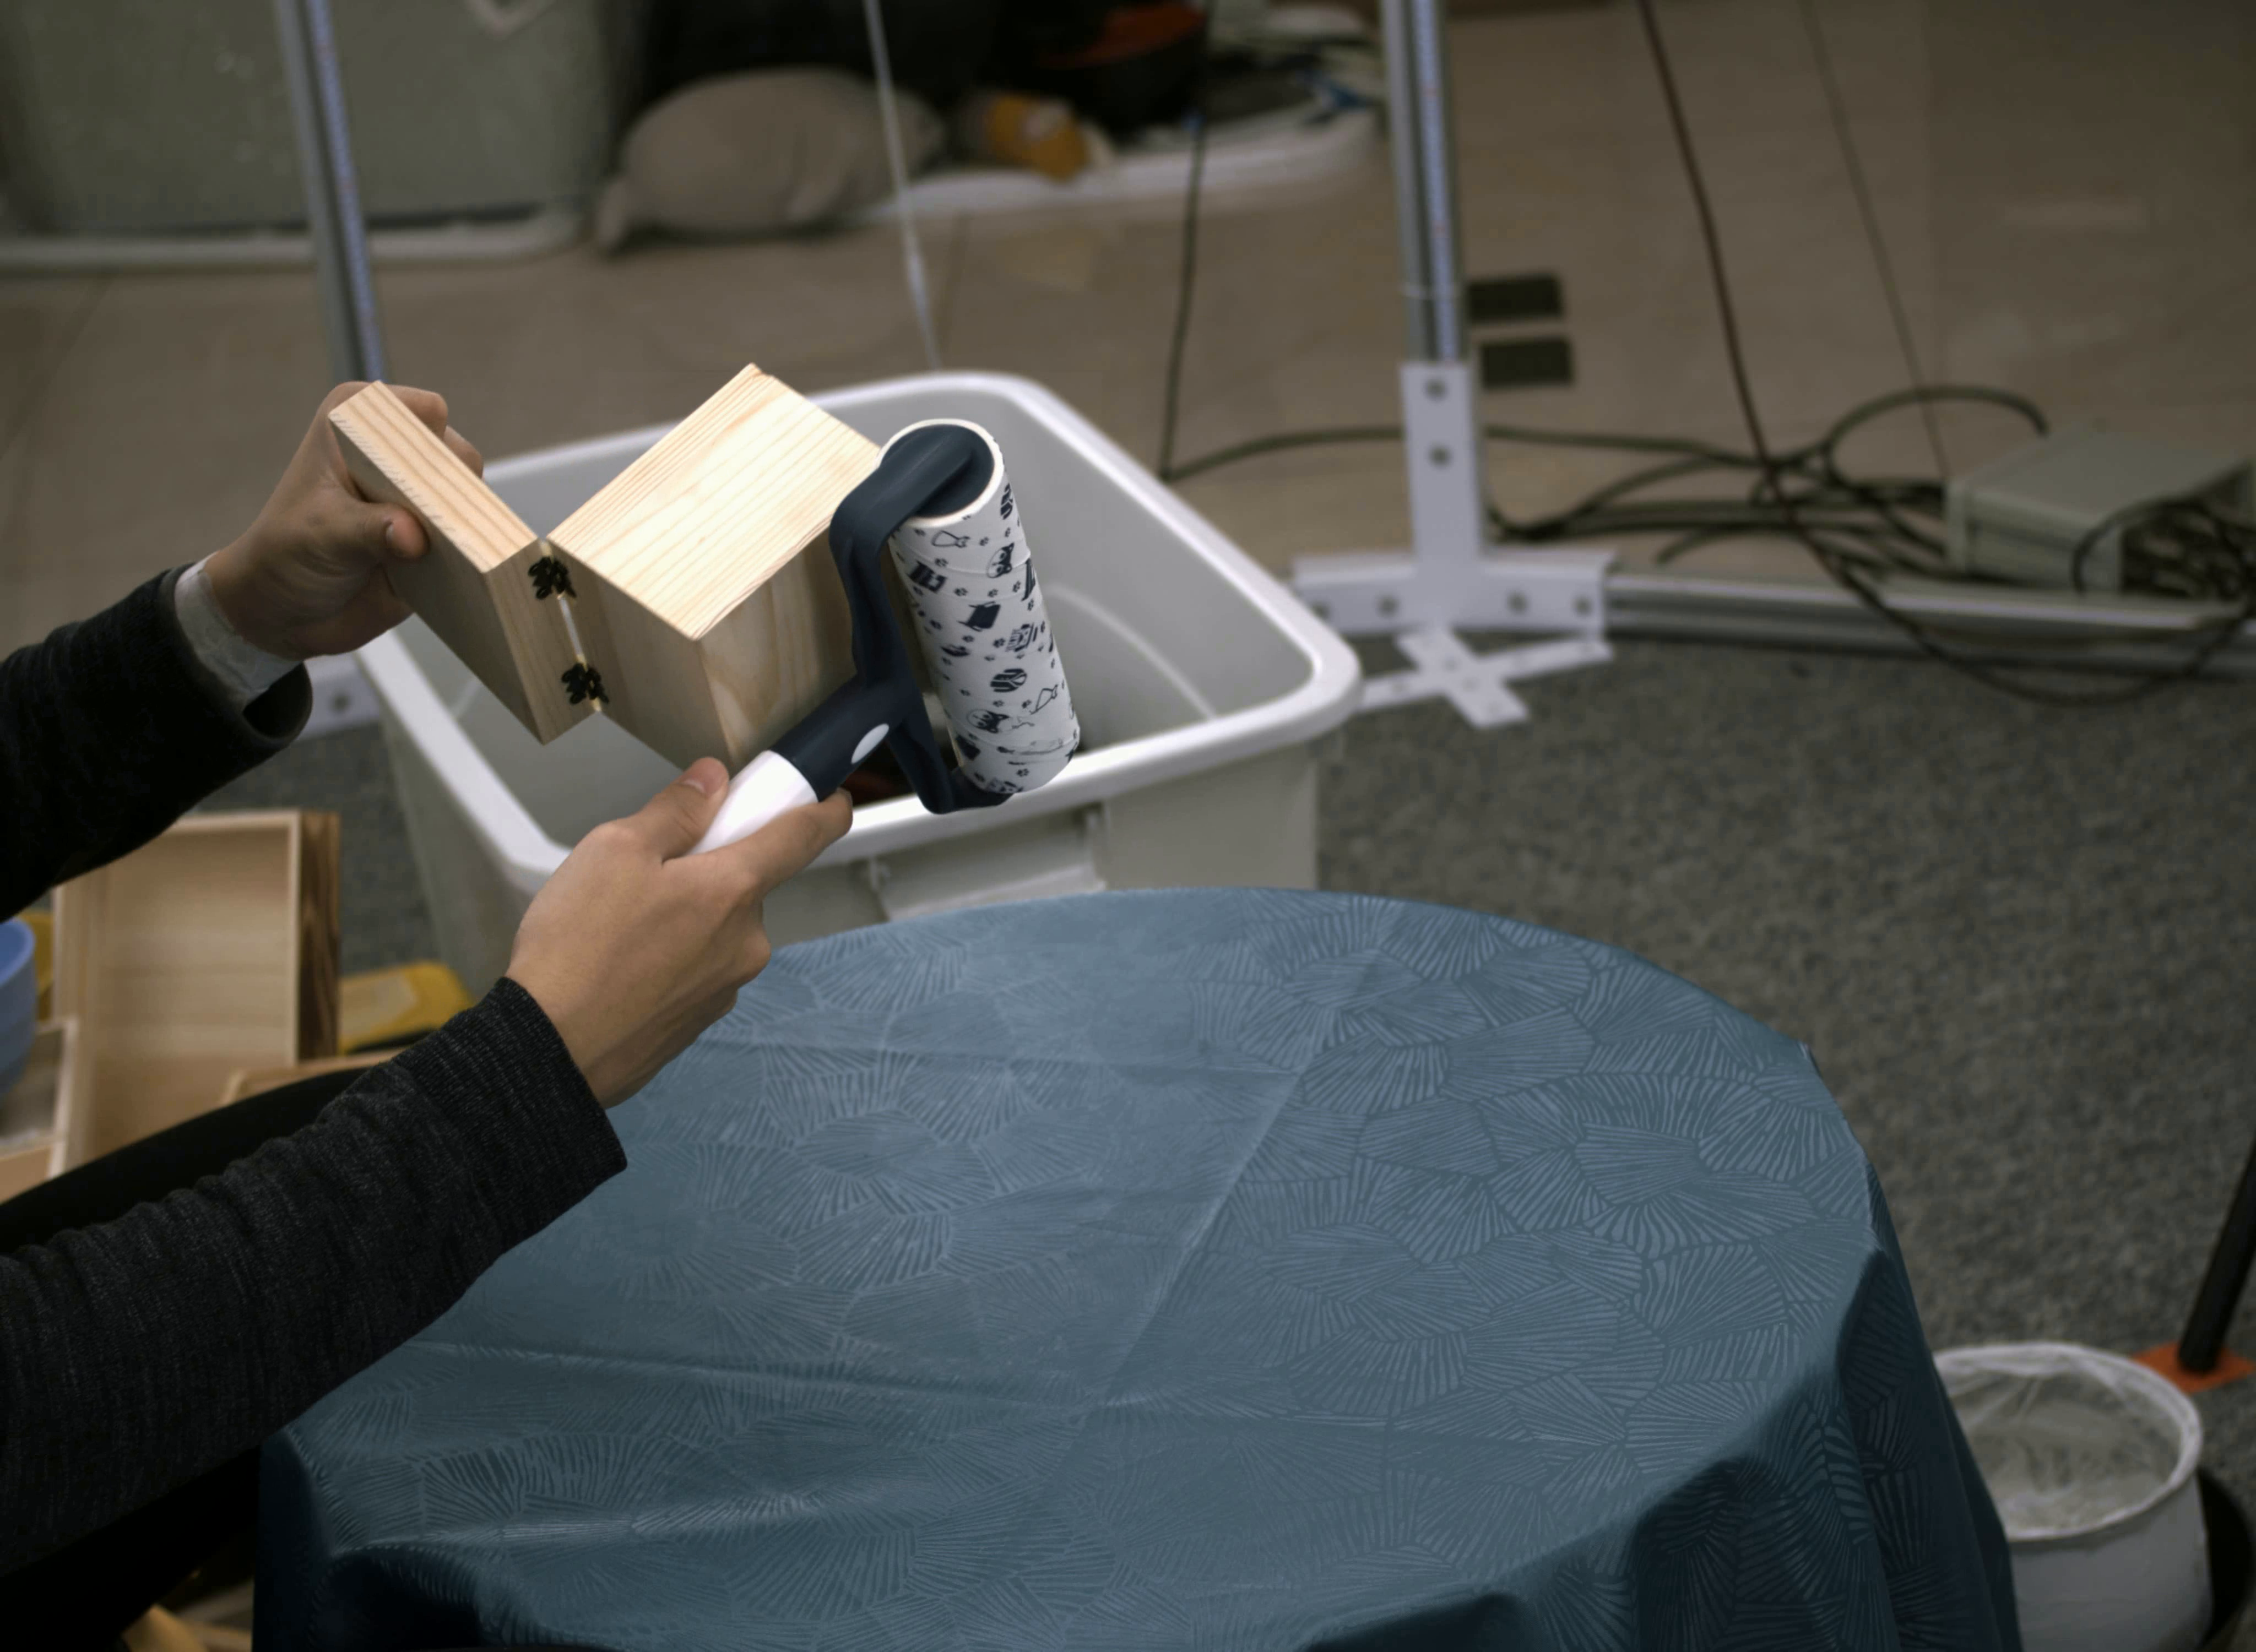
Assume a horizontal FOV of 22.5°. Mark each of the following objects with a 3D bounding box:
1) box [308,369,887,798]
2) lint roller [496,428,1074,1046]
[{"bbox_3d":[-0.178,-0.102,2.016,0.182,0.104,0.133,34,65,29],"label":"box"},{"bbox_3d":[-0.120,-0.007,1.966,0.050,0.179,0.245,35,70,28],"label":"lint roller"}]
